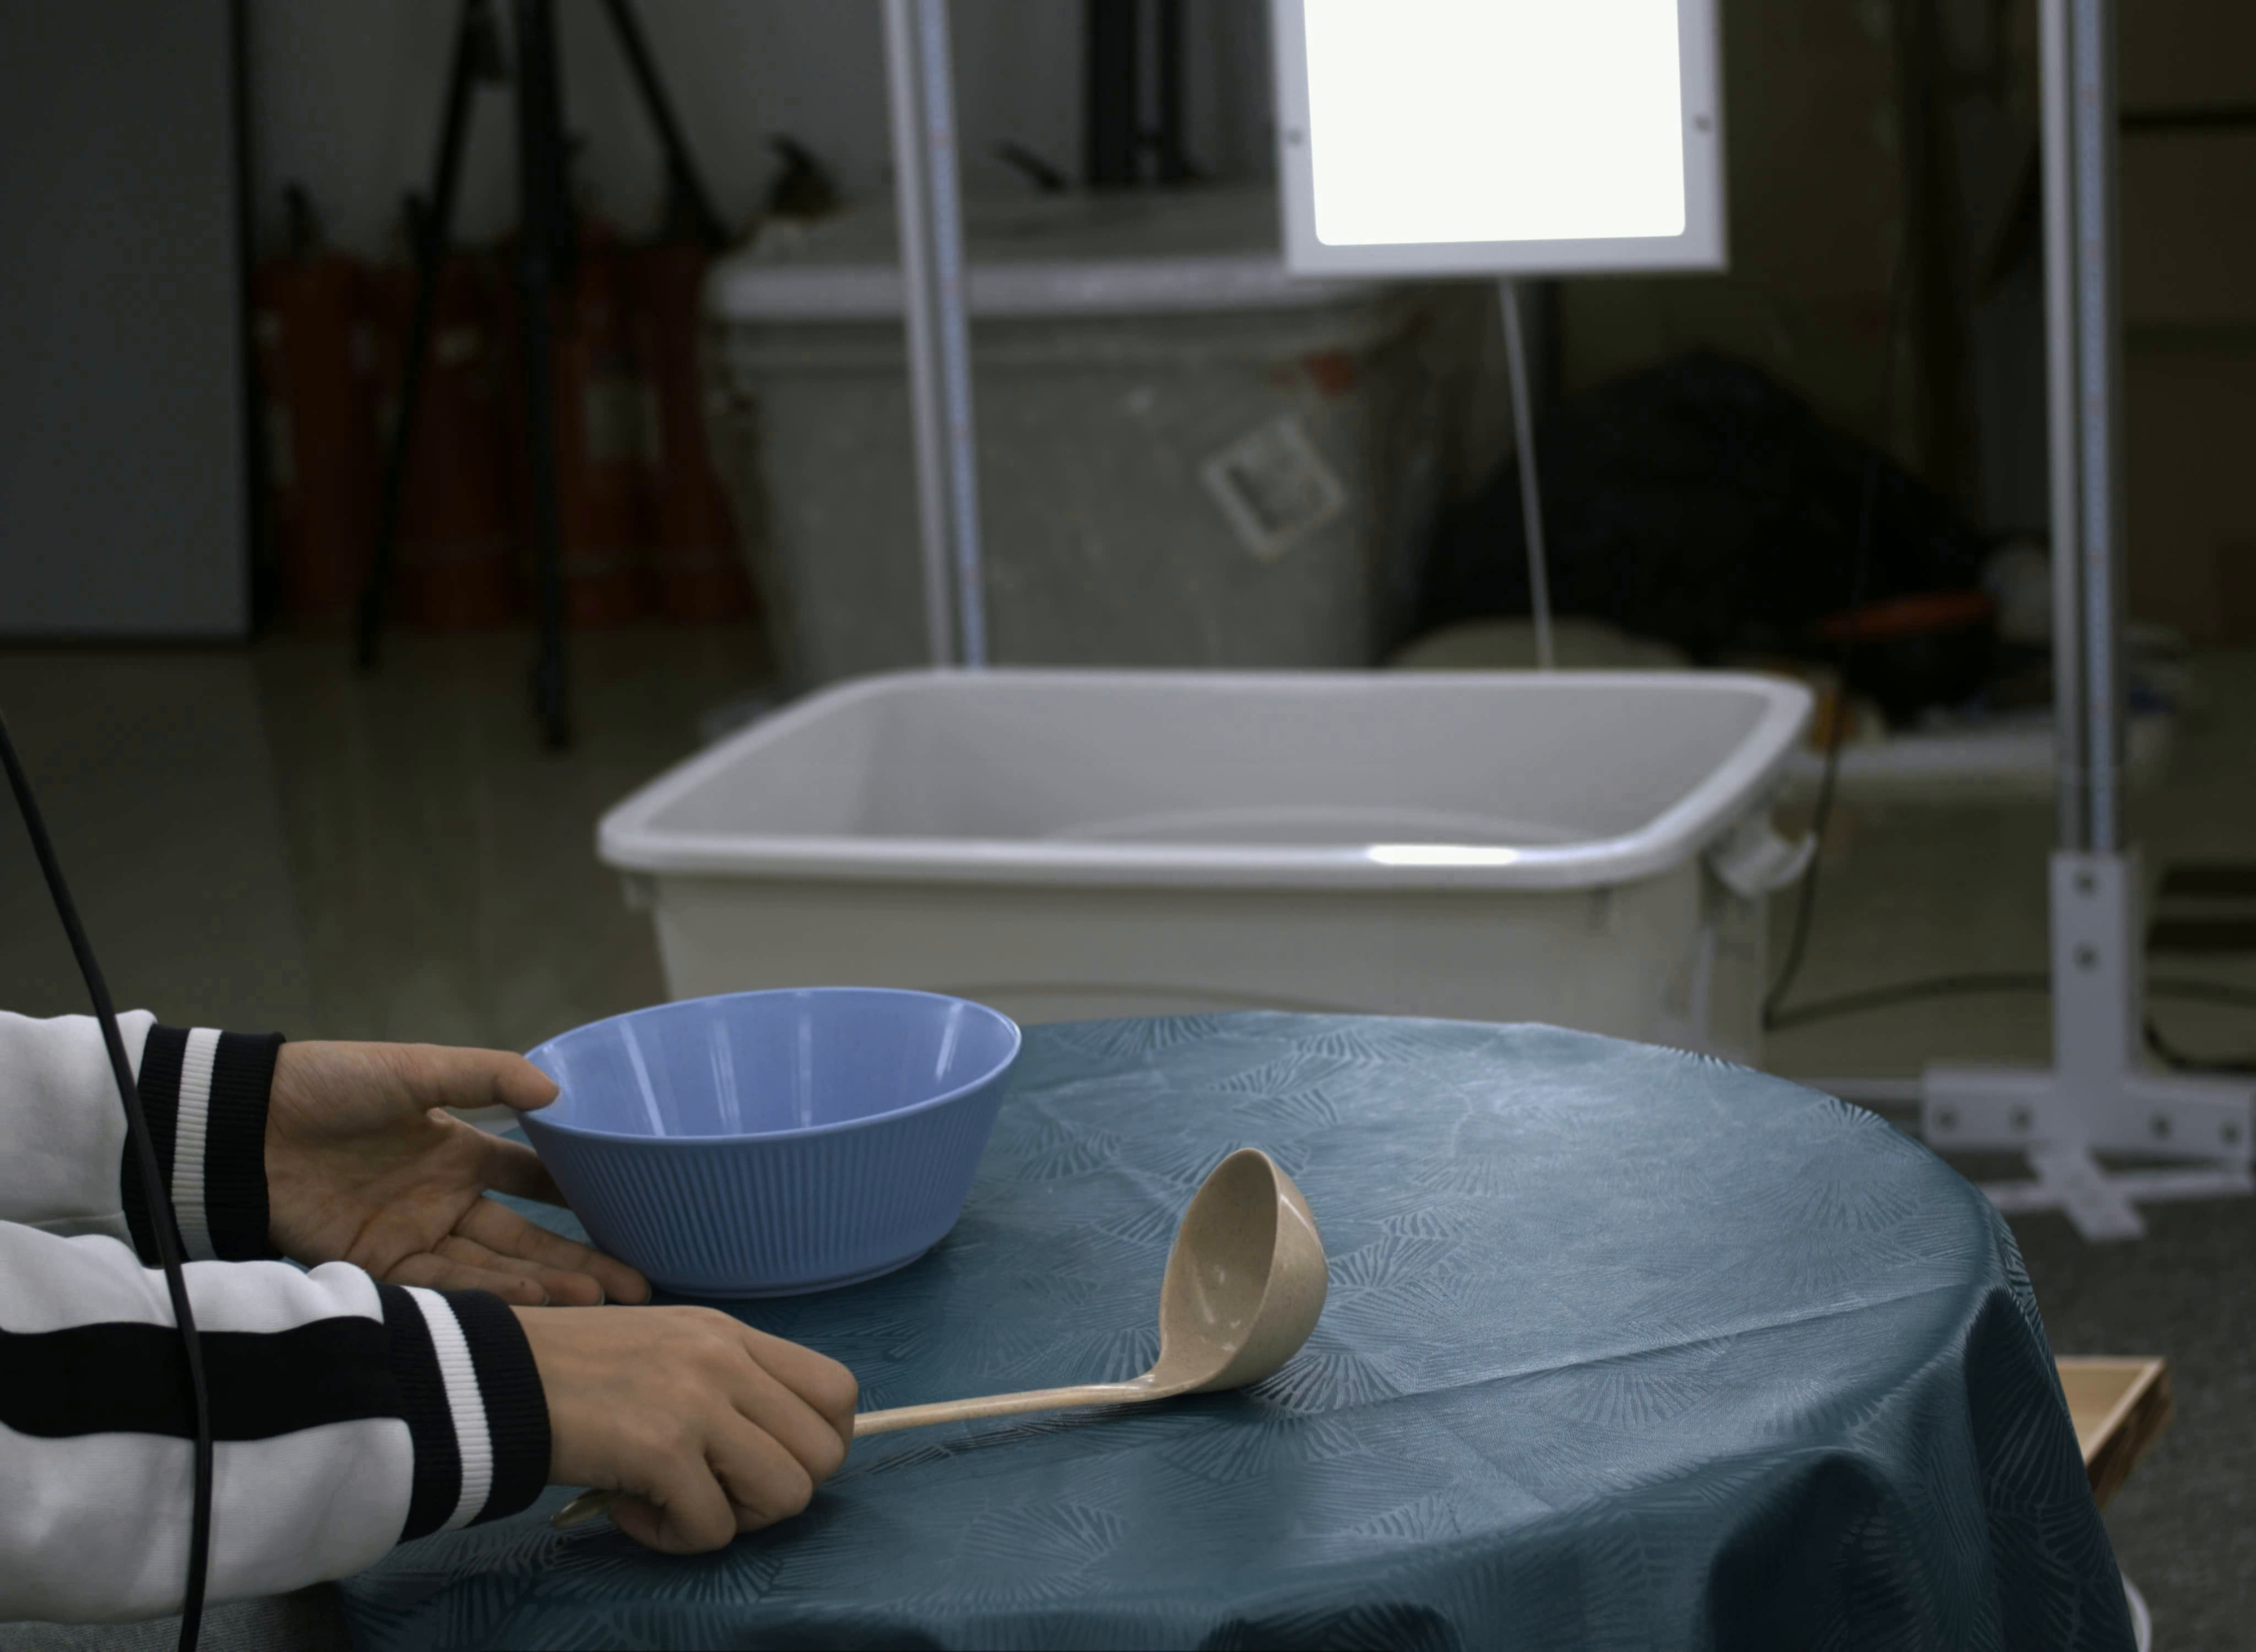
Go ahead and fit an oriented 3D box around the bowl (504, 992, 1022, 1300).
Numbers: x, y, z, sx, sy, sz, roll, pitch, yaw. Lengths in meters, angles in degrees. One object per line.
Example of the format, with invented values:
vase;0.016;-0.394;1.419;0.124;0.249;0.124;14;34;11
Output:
bowl;-0.120;0.111;1.861;0.175;0.070;0.176;-5;13;0

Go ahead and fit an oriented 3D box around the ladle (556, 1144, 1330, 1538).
ladle;-0.058;0.152;1.655;0.249;0.073;0.073;-10;7;-24
